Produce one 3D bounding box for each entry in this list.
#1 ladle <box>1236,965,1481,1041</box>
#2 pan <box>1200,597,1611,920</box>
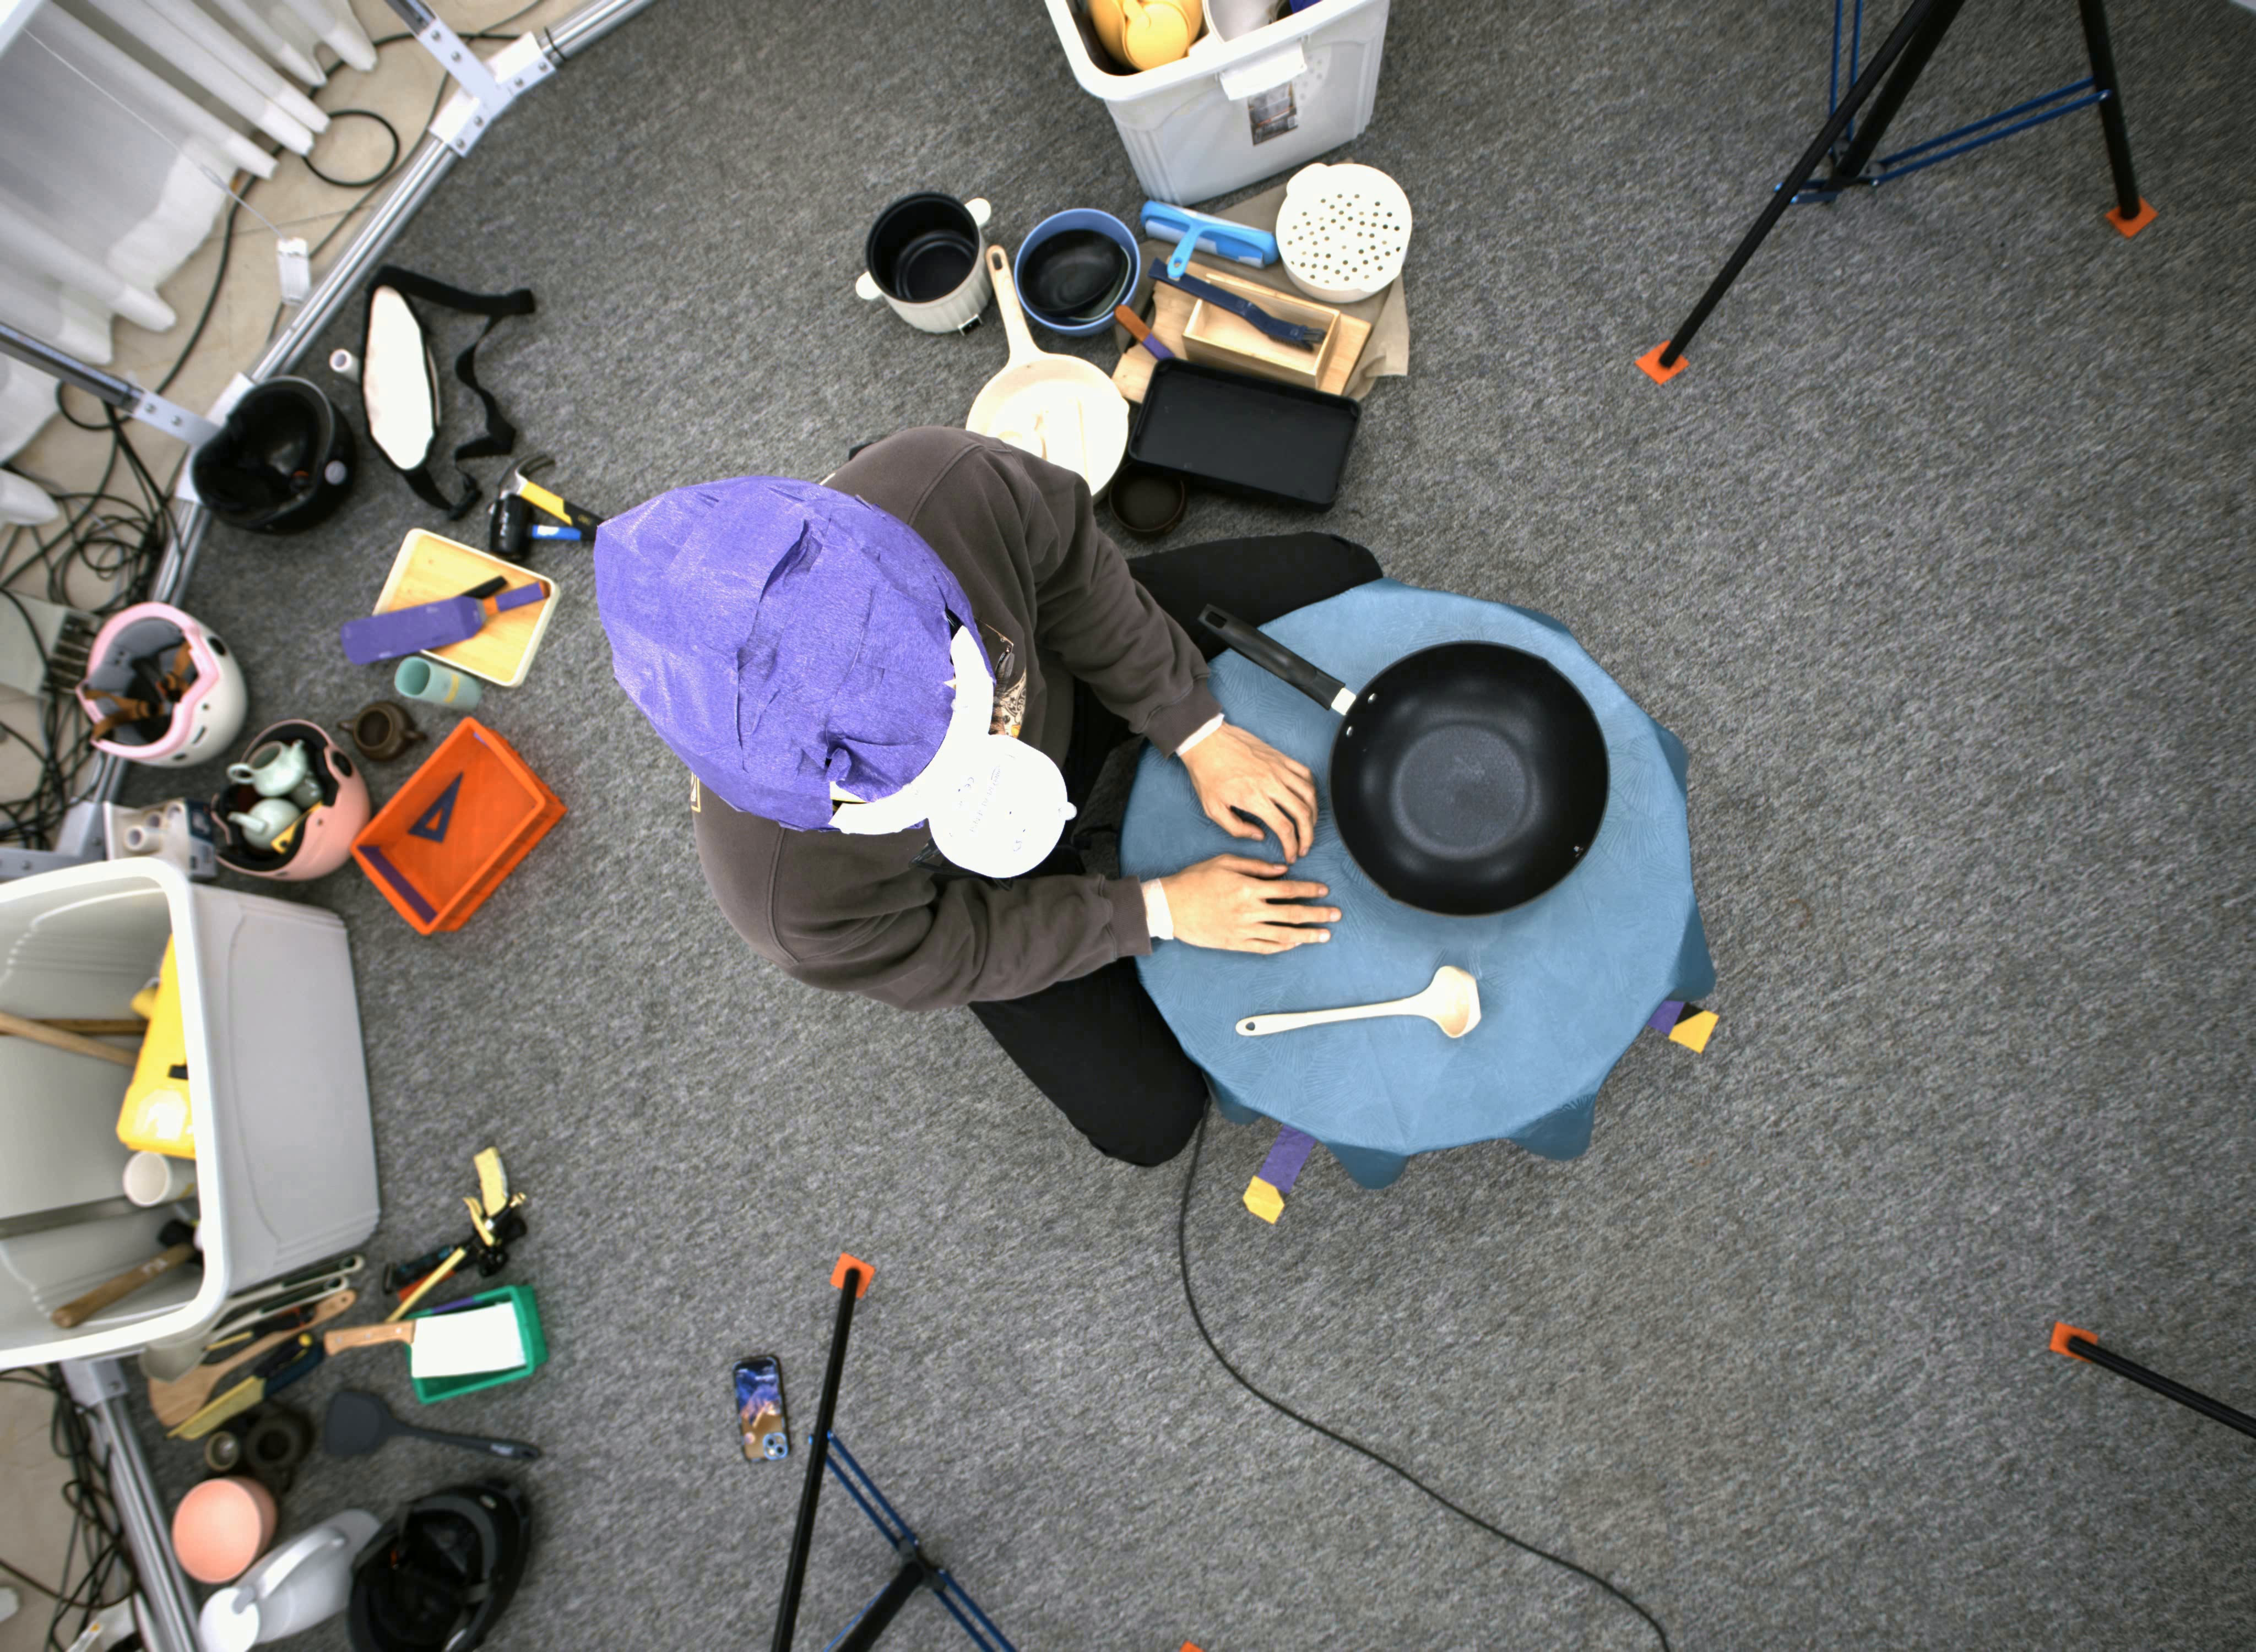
[{"bbox_3d":[0.233,0.195,1.422,0.256,0.072,0.072,-11,89,9],"label":"ladle"},{"bbox_3d":[0.270,-0.095,1.423,0.462,0.087,0.289,34,94,11],"label":"pan"}]
